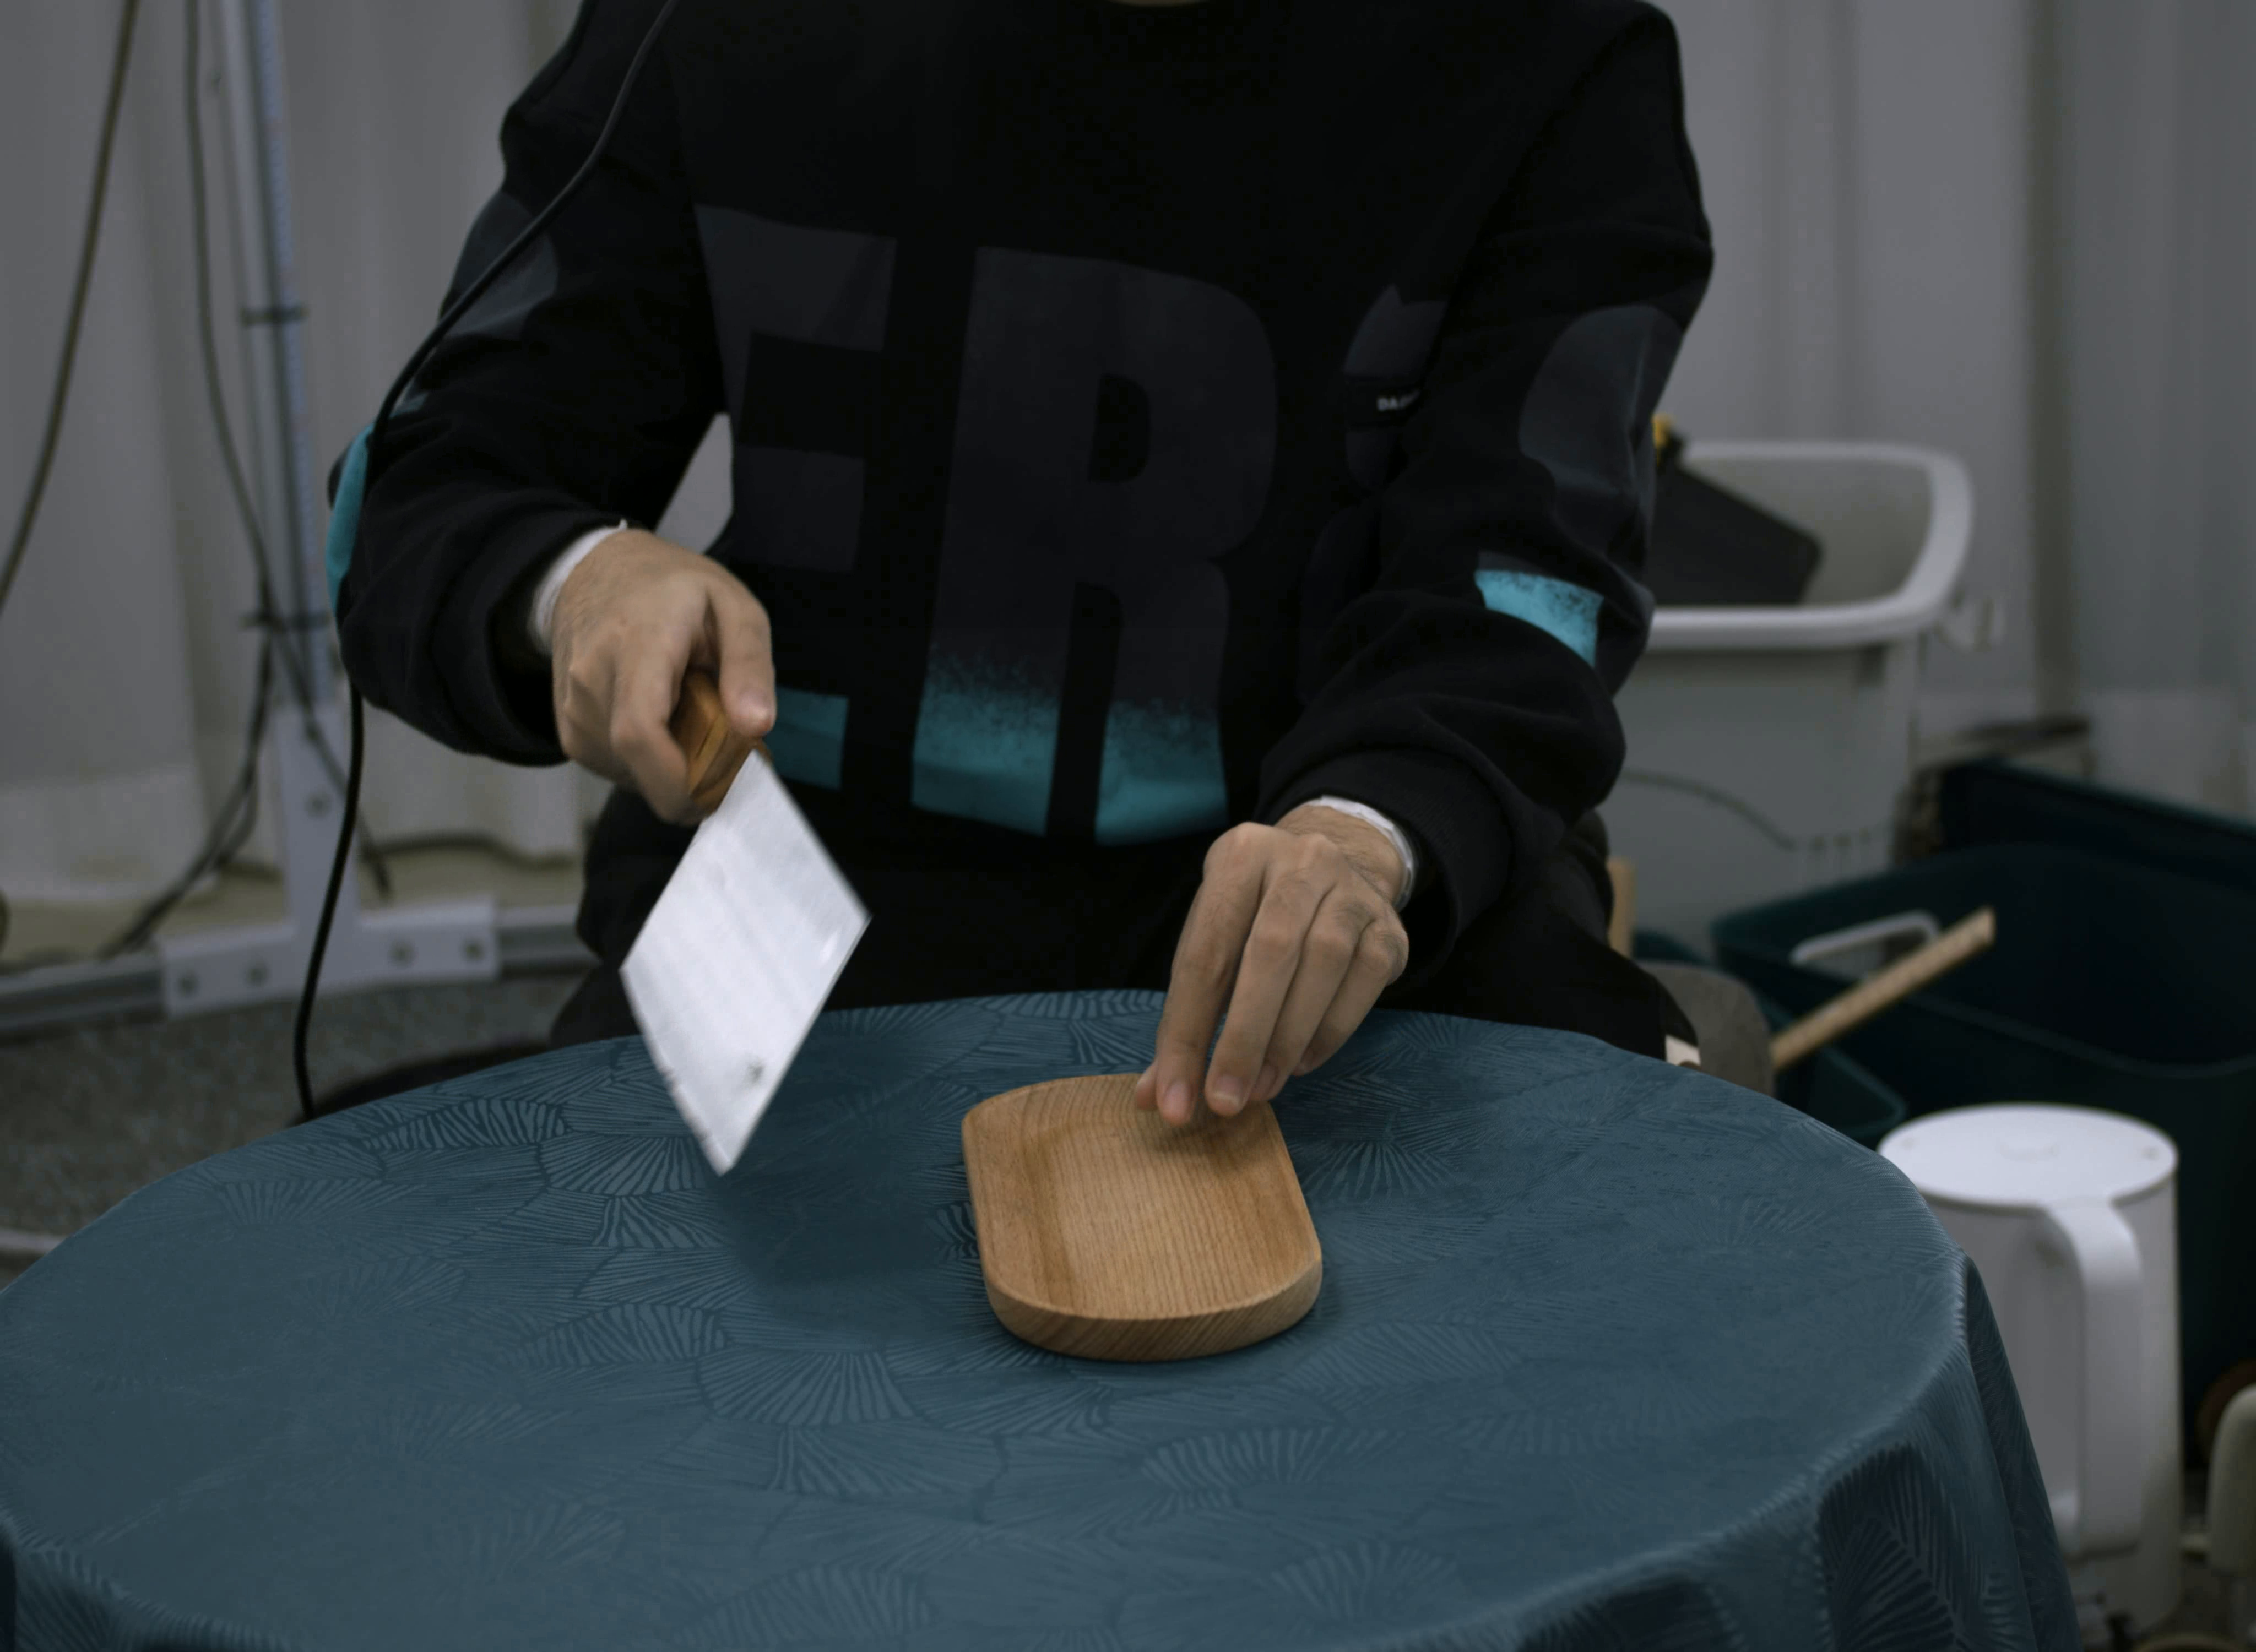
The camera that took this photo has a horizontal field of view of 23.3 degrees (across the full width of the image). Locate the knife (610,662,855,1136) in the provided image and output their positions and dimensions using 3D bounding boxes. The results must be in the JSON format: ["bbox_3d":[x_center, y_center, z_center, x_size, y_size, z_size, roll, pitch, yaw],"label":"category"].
[{"bbox_3d":[-0.138,0.023,1.761,0.021,0.093,0.309,28,9,-21],"label":"knife"}]

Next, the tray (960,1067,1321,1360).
[{"bbox_3d":[0.002,0.116,1.676,0.101,0.020,0.233,-3,14,-4],"label":"tray"}]
